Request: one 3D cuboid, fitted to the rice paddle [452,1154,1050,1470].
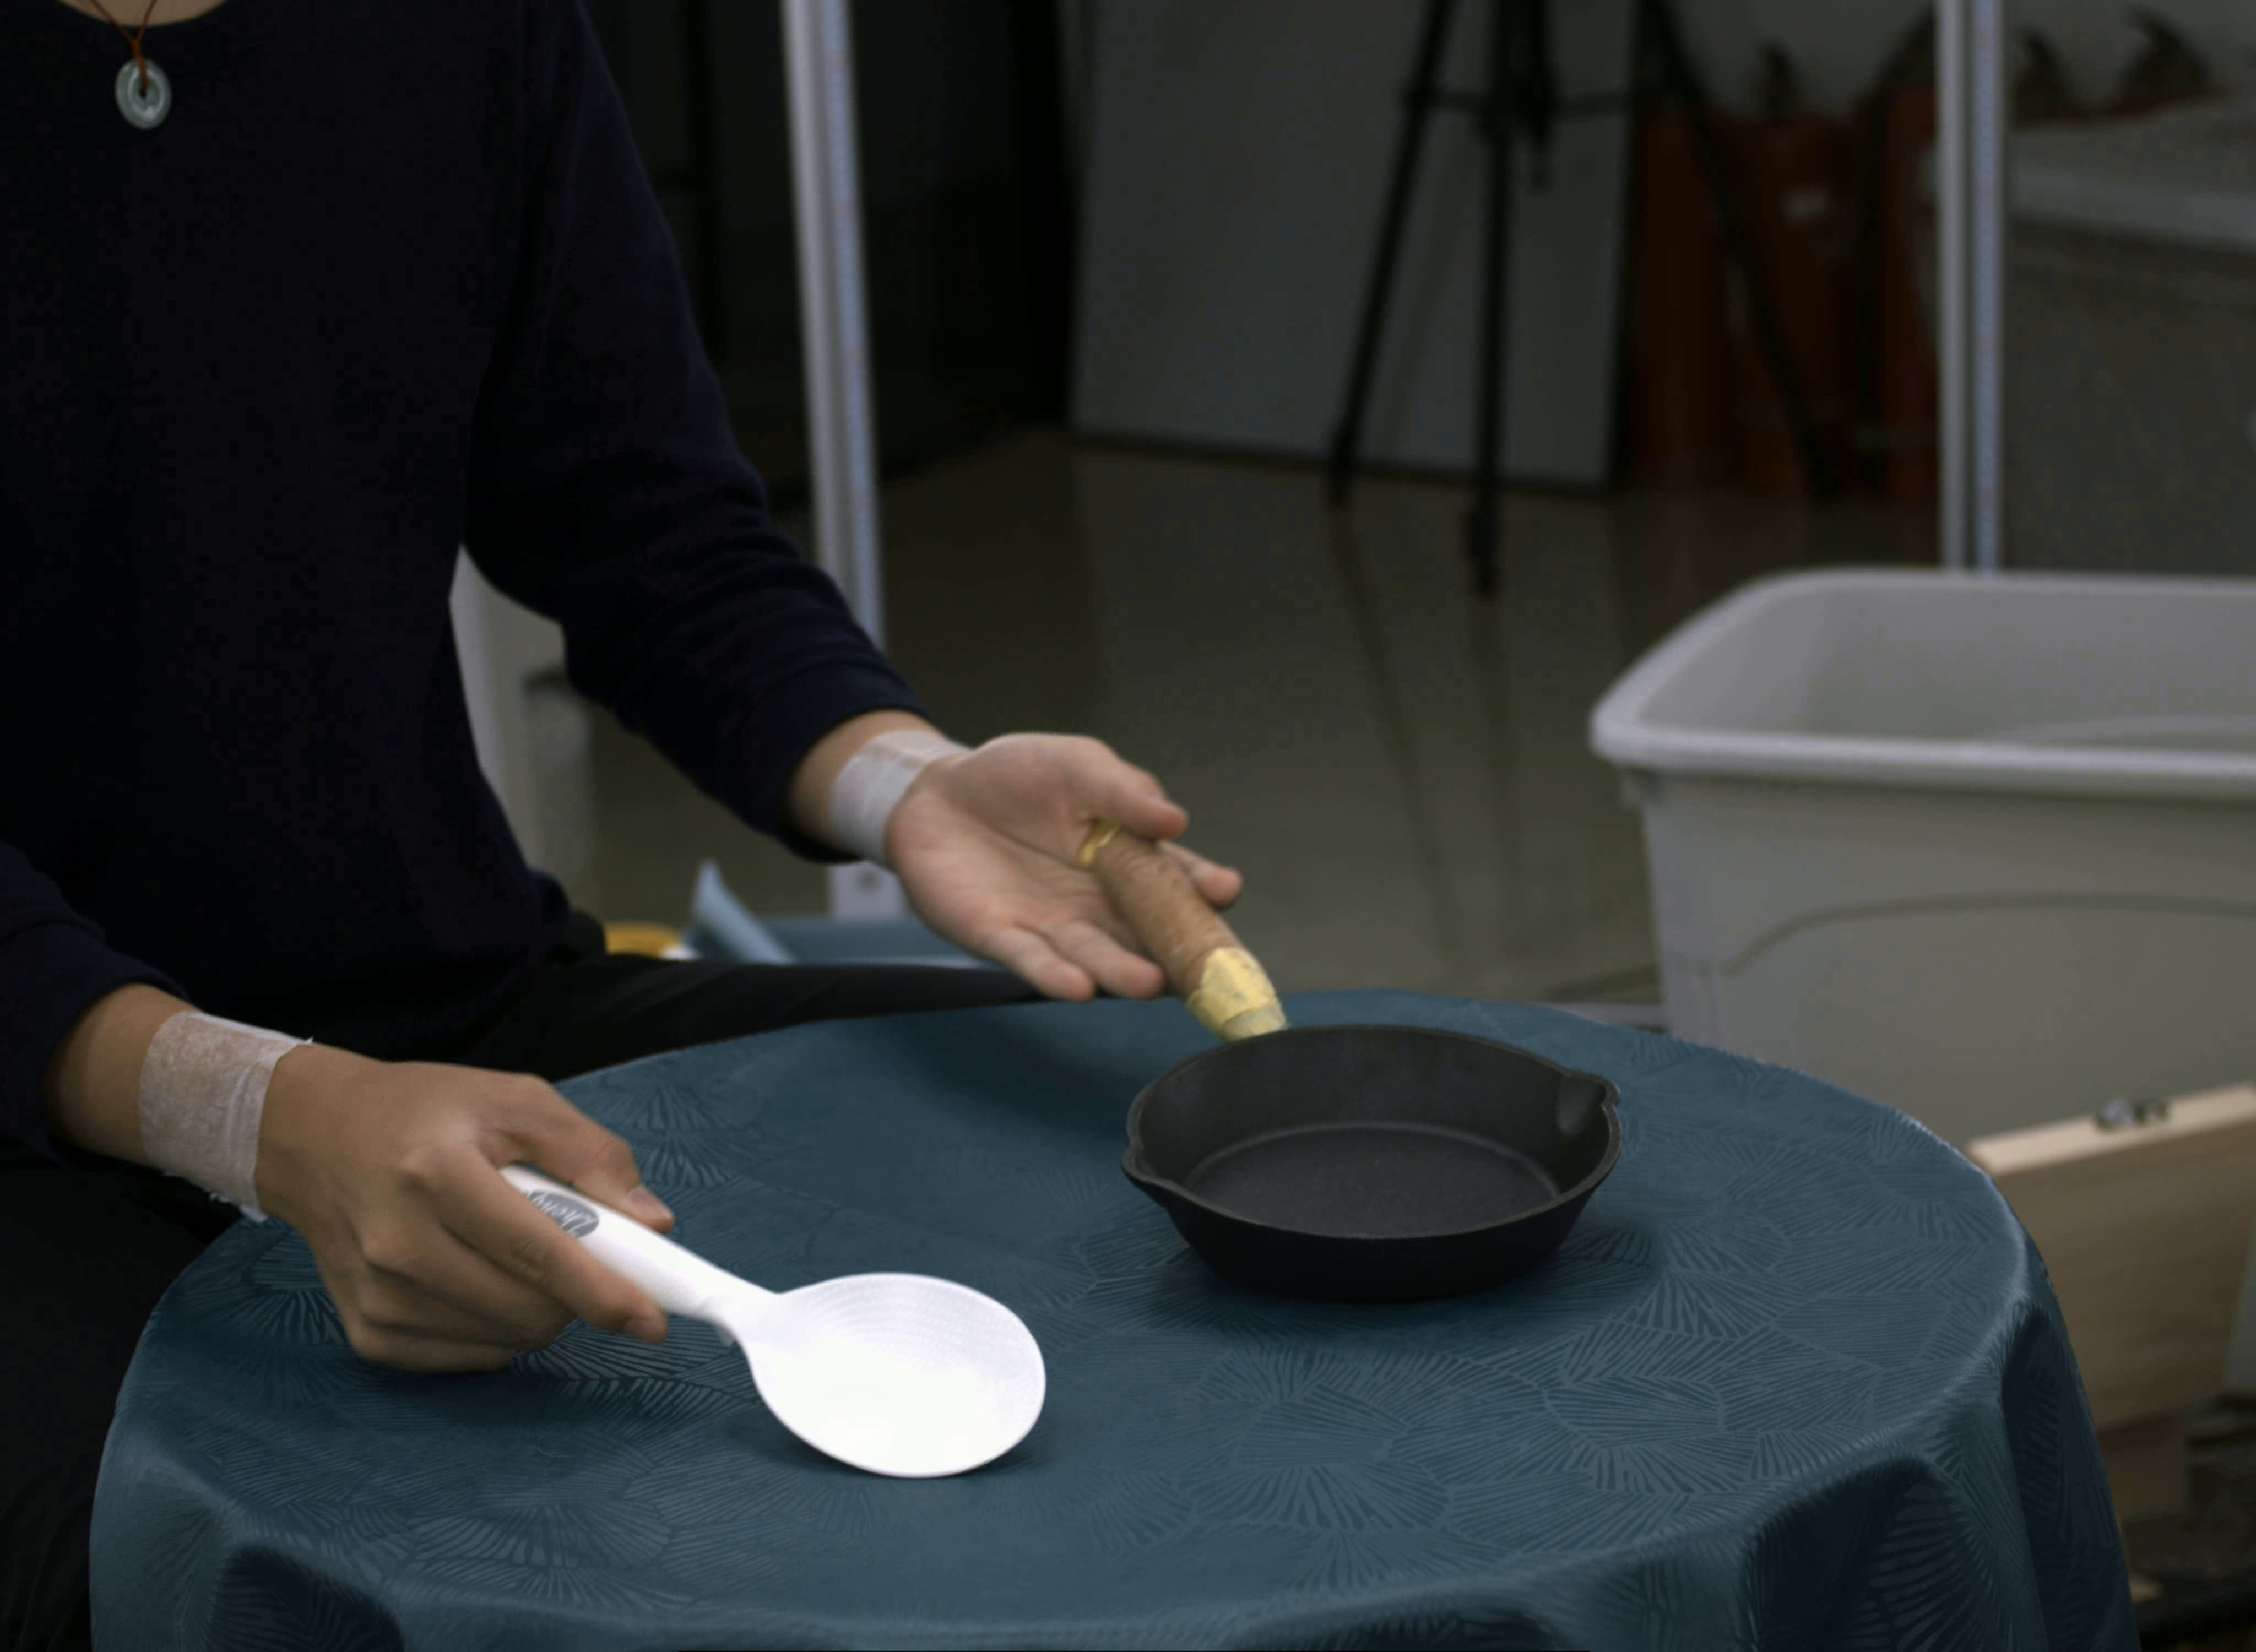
[{"bbox_3d":[-0.111,0.139,1.585,0.206,0.029,0.068,17,57,31],"label":"rice paddle"}]

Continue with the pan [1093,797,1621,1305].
[{"bbox_3d":[0.050,0.070,1.769,0.165,0.050,0.327,-8,24,-17],"label":"pan"}]
